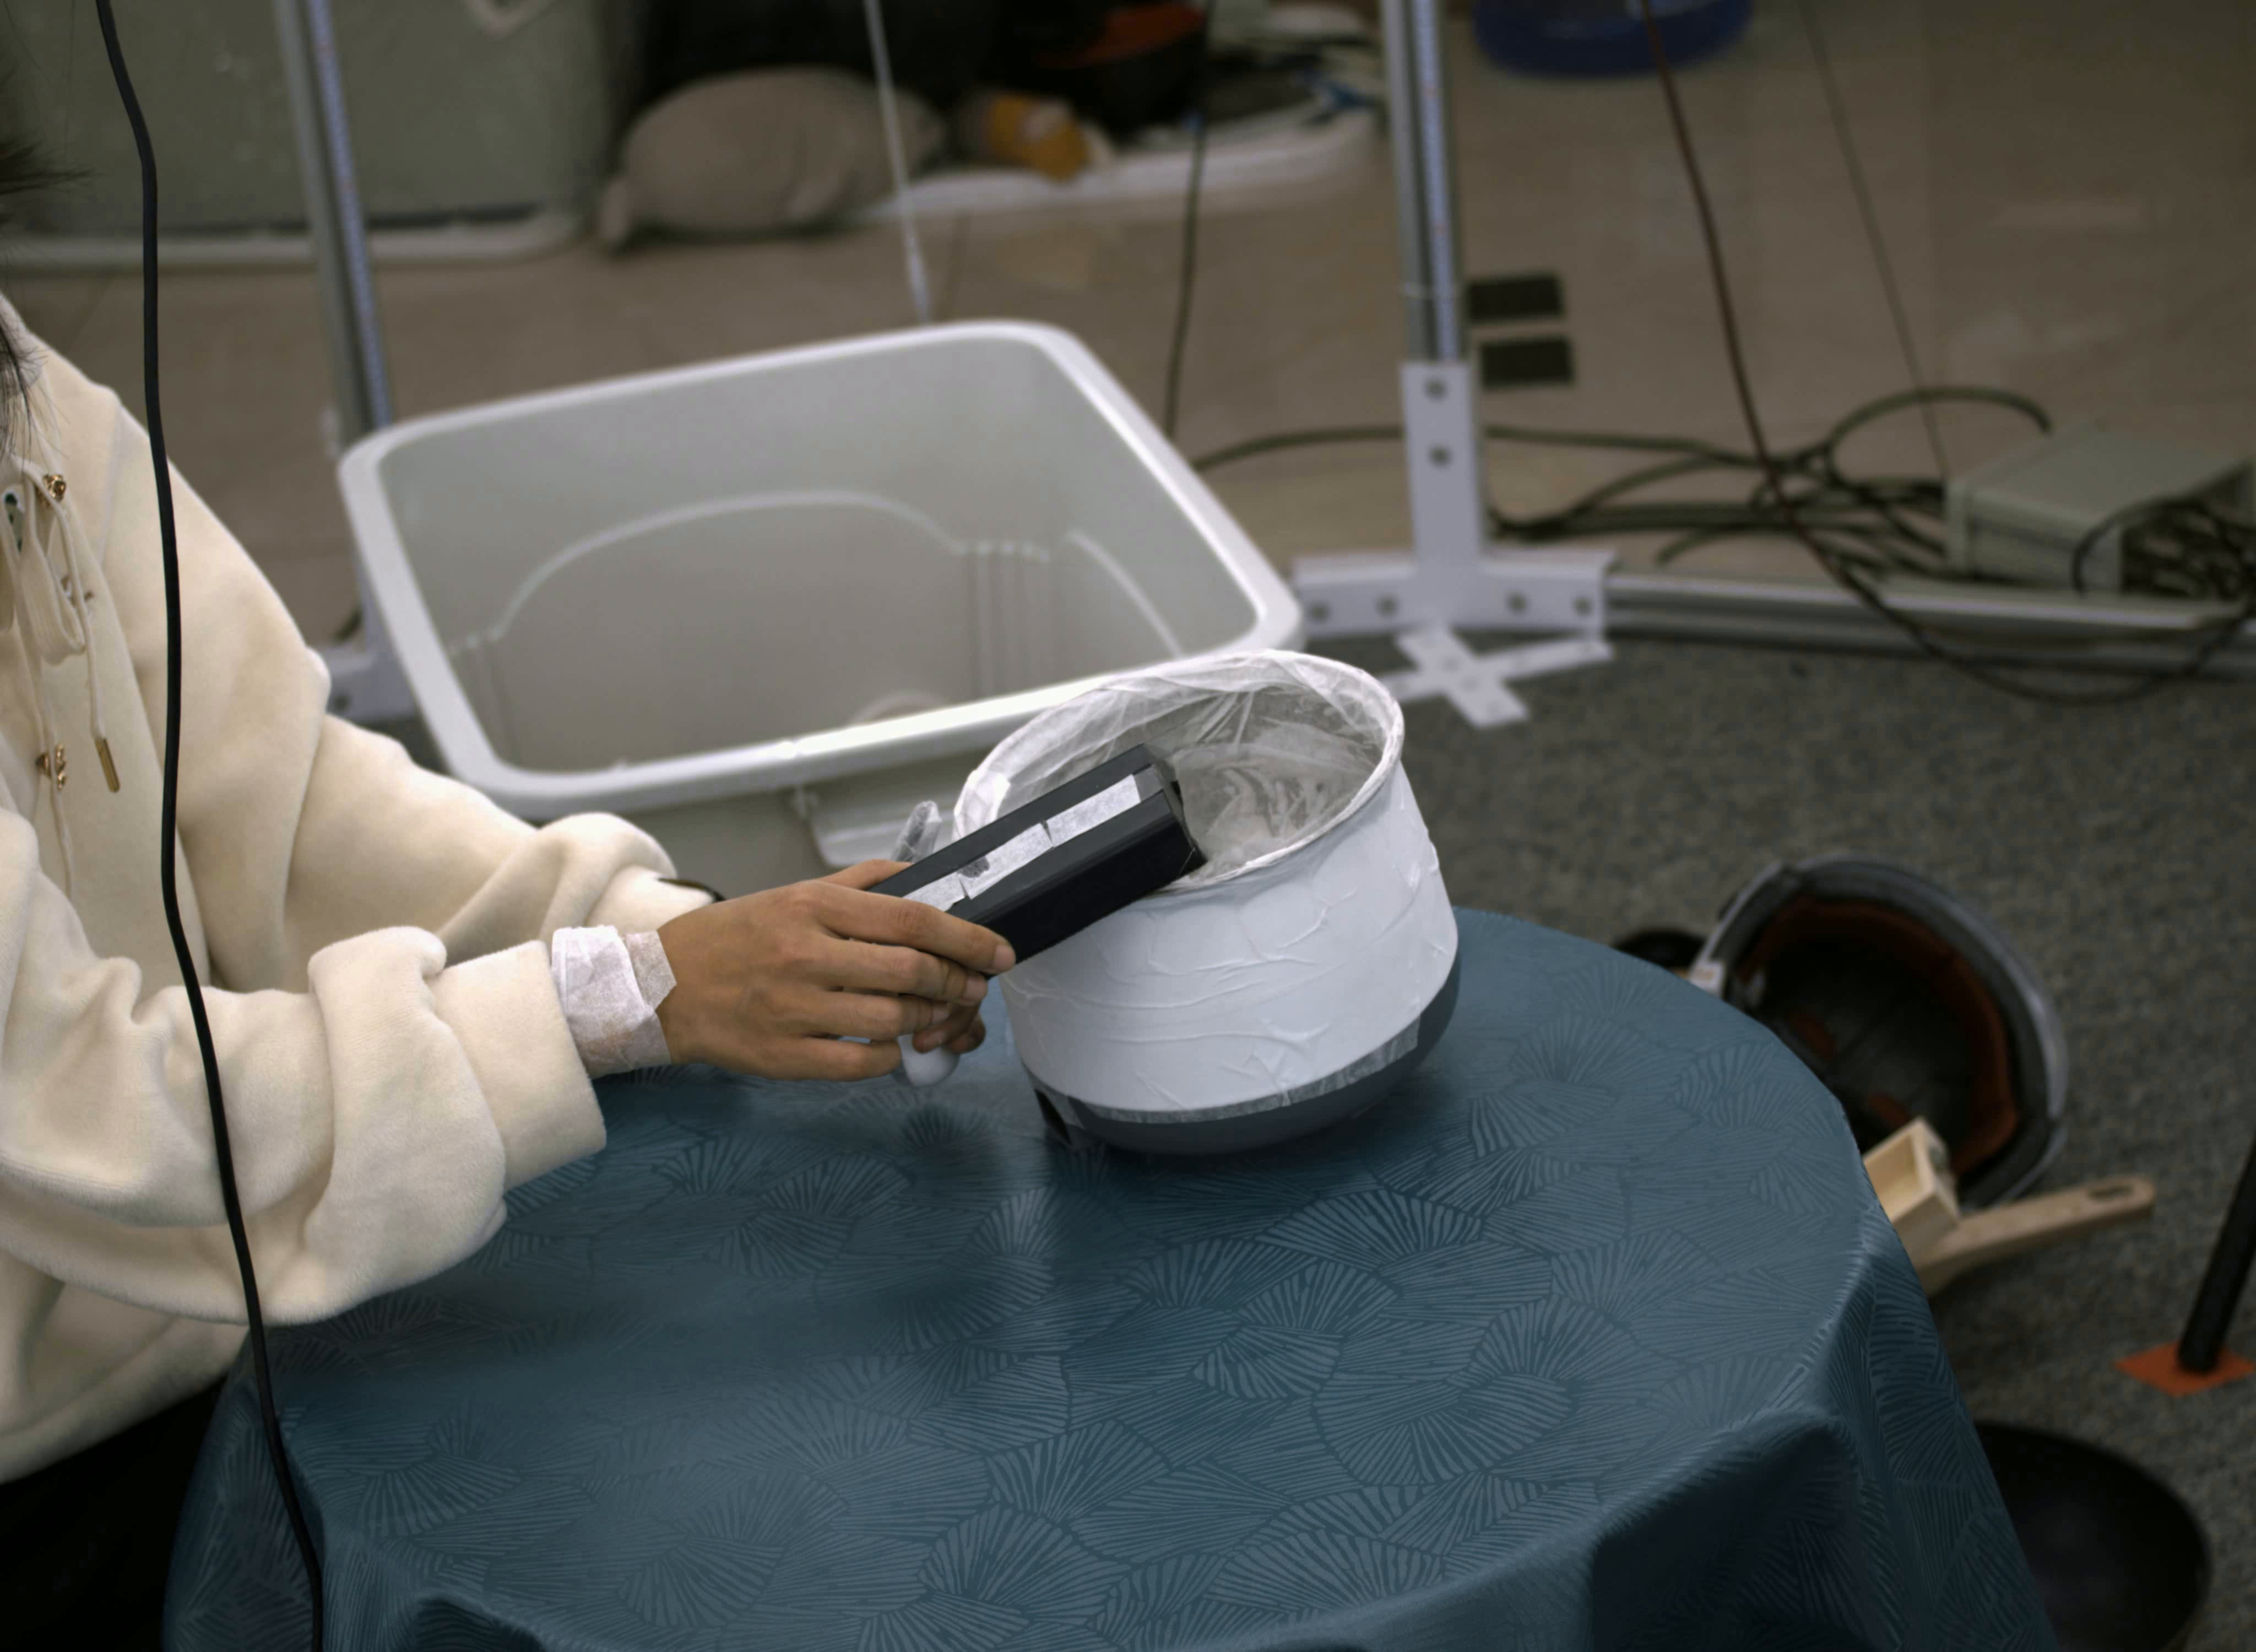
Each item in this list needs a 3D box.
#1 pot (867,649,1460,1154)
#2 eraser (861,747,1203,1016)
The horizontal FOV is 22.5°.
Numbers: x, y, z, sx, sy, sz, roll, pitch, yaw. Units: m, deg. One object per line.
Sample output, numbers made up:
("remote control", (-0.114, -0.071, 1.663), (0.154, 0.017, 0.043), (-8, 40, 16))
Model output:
("pot", (0.007, 0.036, 2.181), (0.233, 0.139, 0.176), (-9, 30, 10))
("eraser", (-0.035, 0.019, 2.081), (0.125, 0.031, 0.052), (-28, 40, 6))
